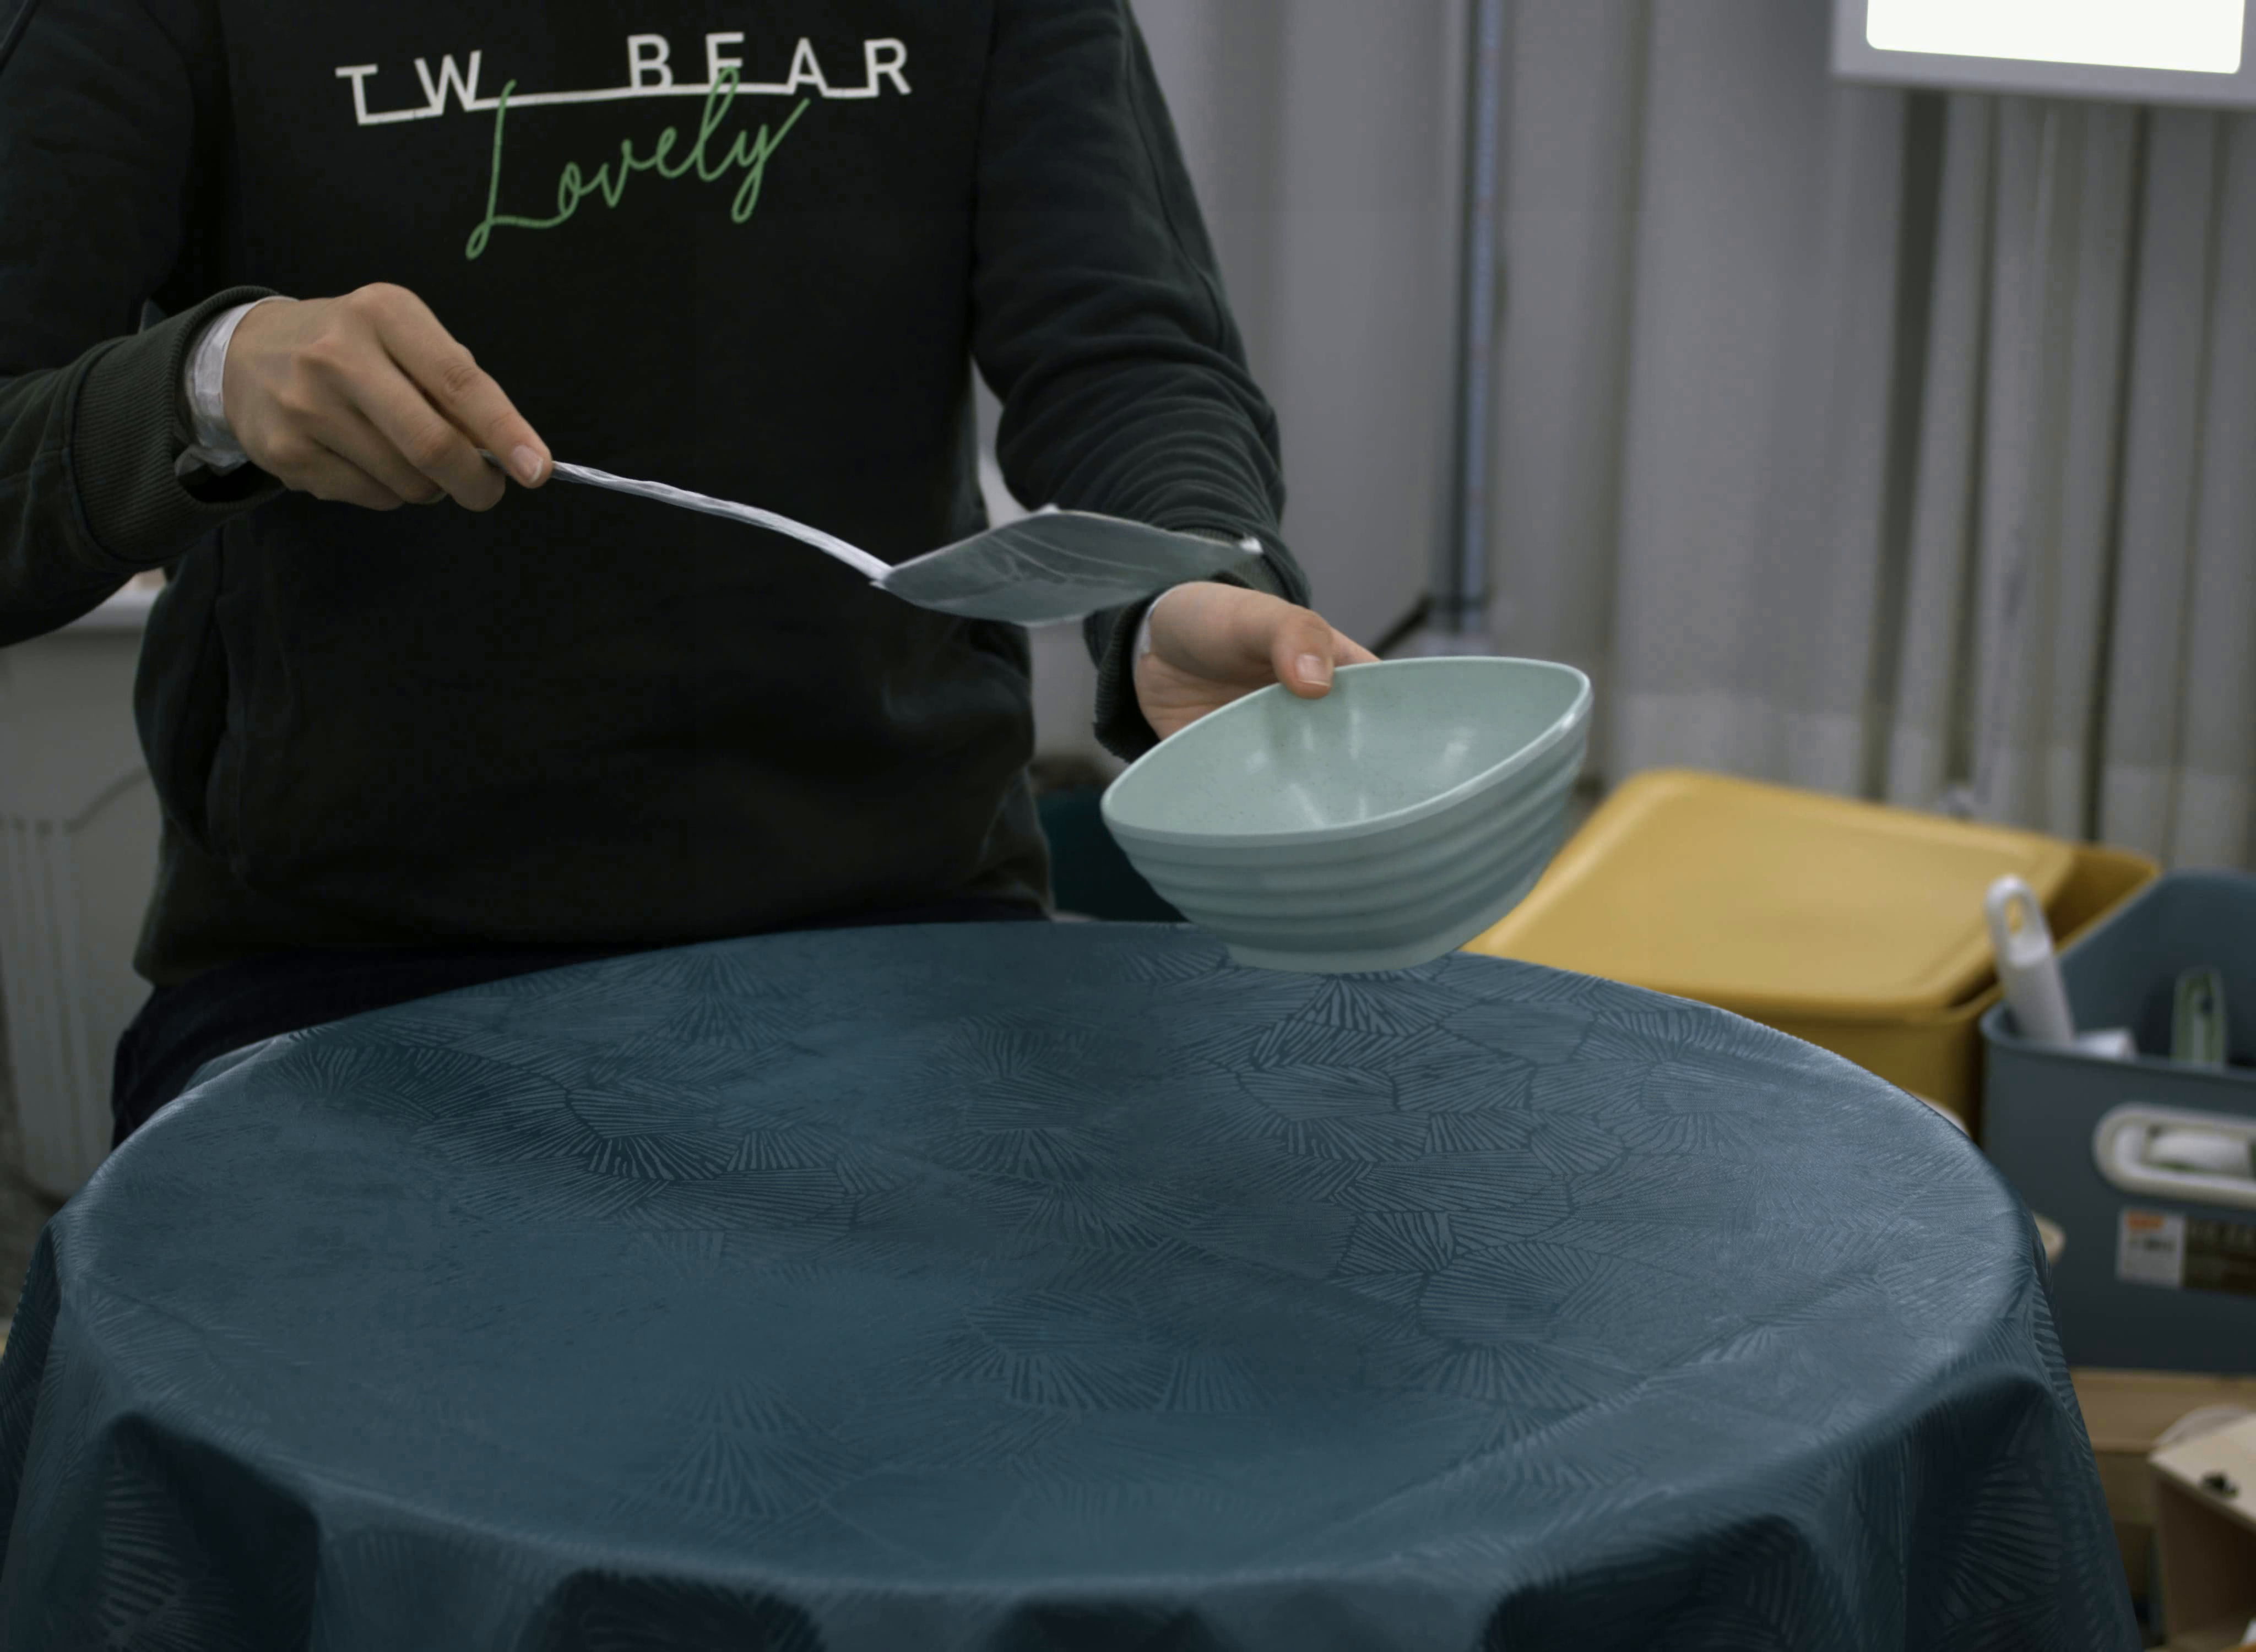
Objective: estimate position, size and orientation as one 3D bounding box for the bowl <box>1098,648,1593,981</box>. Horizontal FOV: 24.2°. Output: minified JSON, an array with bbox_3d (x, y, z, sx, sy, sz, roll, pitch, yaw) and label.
[{"bbox_3d":[0.070,0.001,1.577,0.151,0.059,0.150,-10,23,5],"label":"bowl"}]

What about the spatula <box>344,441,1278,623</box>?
[{"bbox_3d":[-0.117,-0.099,1.578,0.360,0.045,0.099,16,6,38],"label":"spatula"}]
